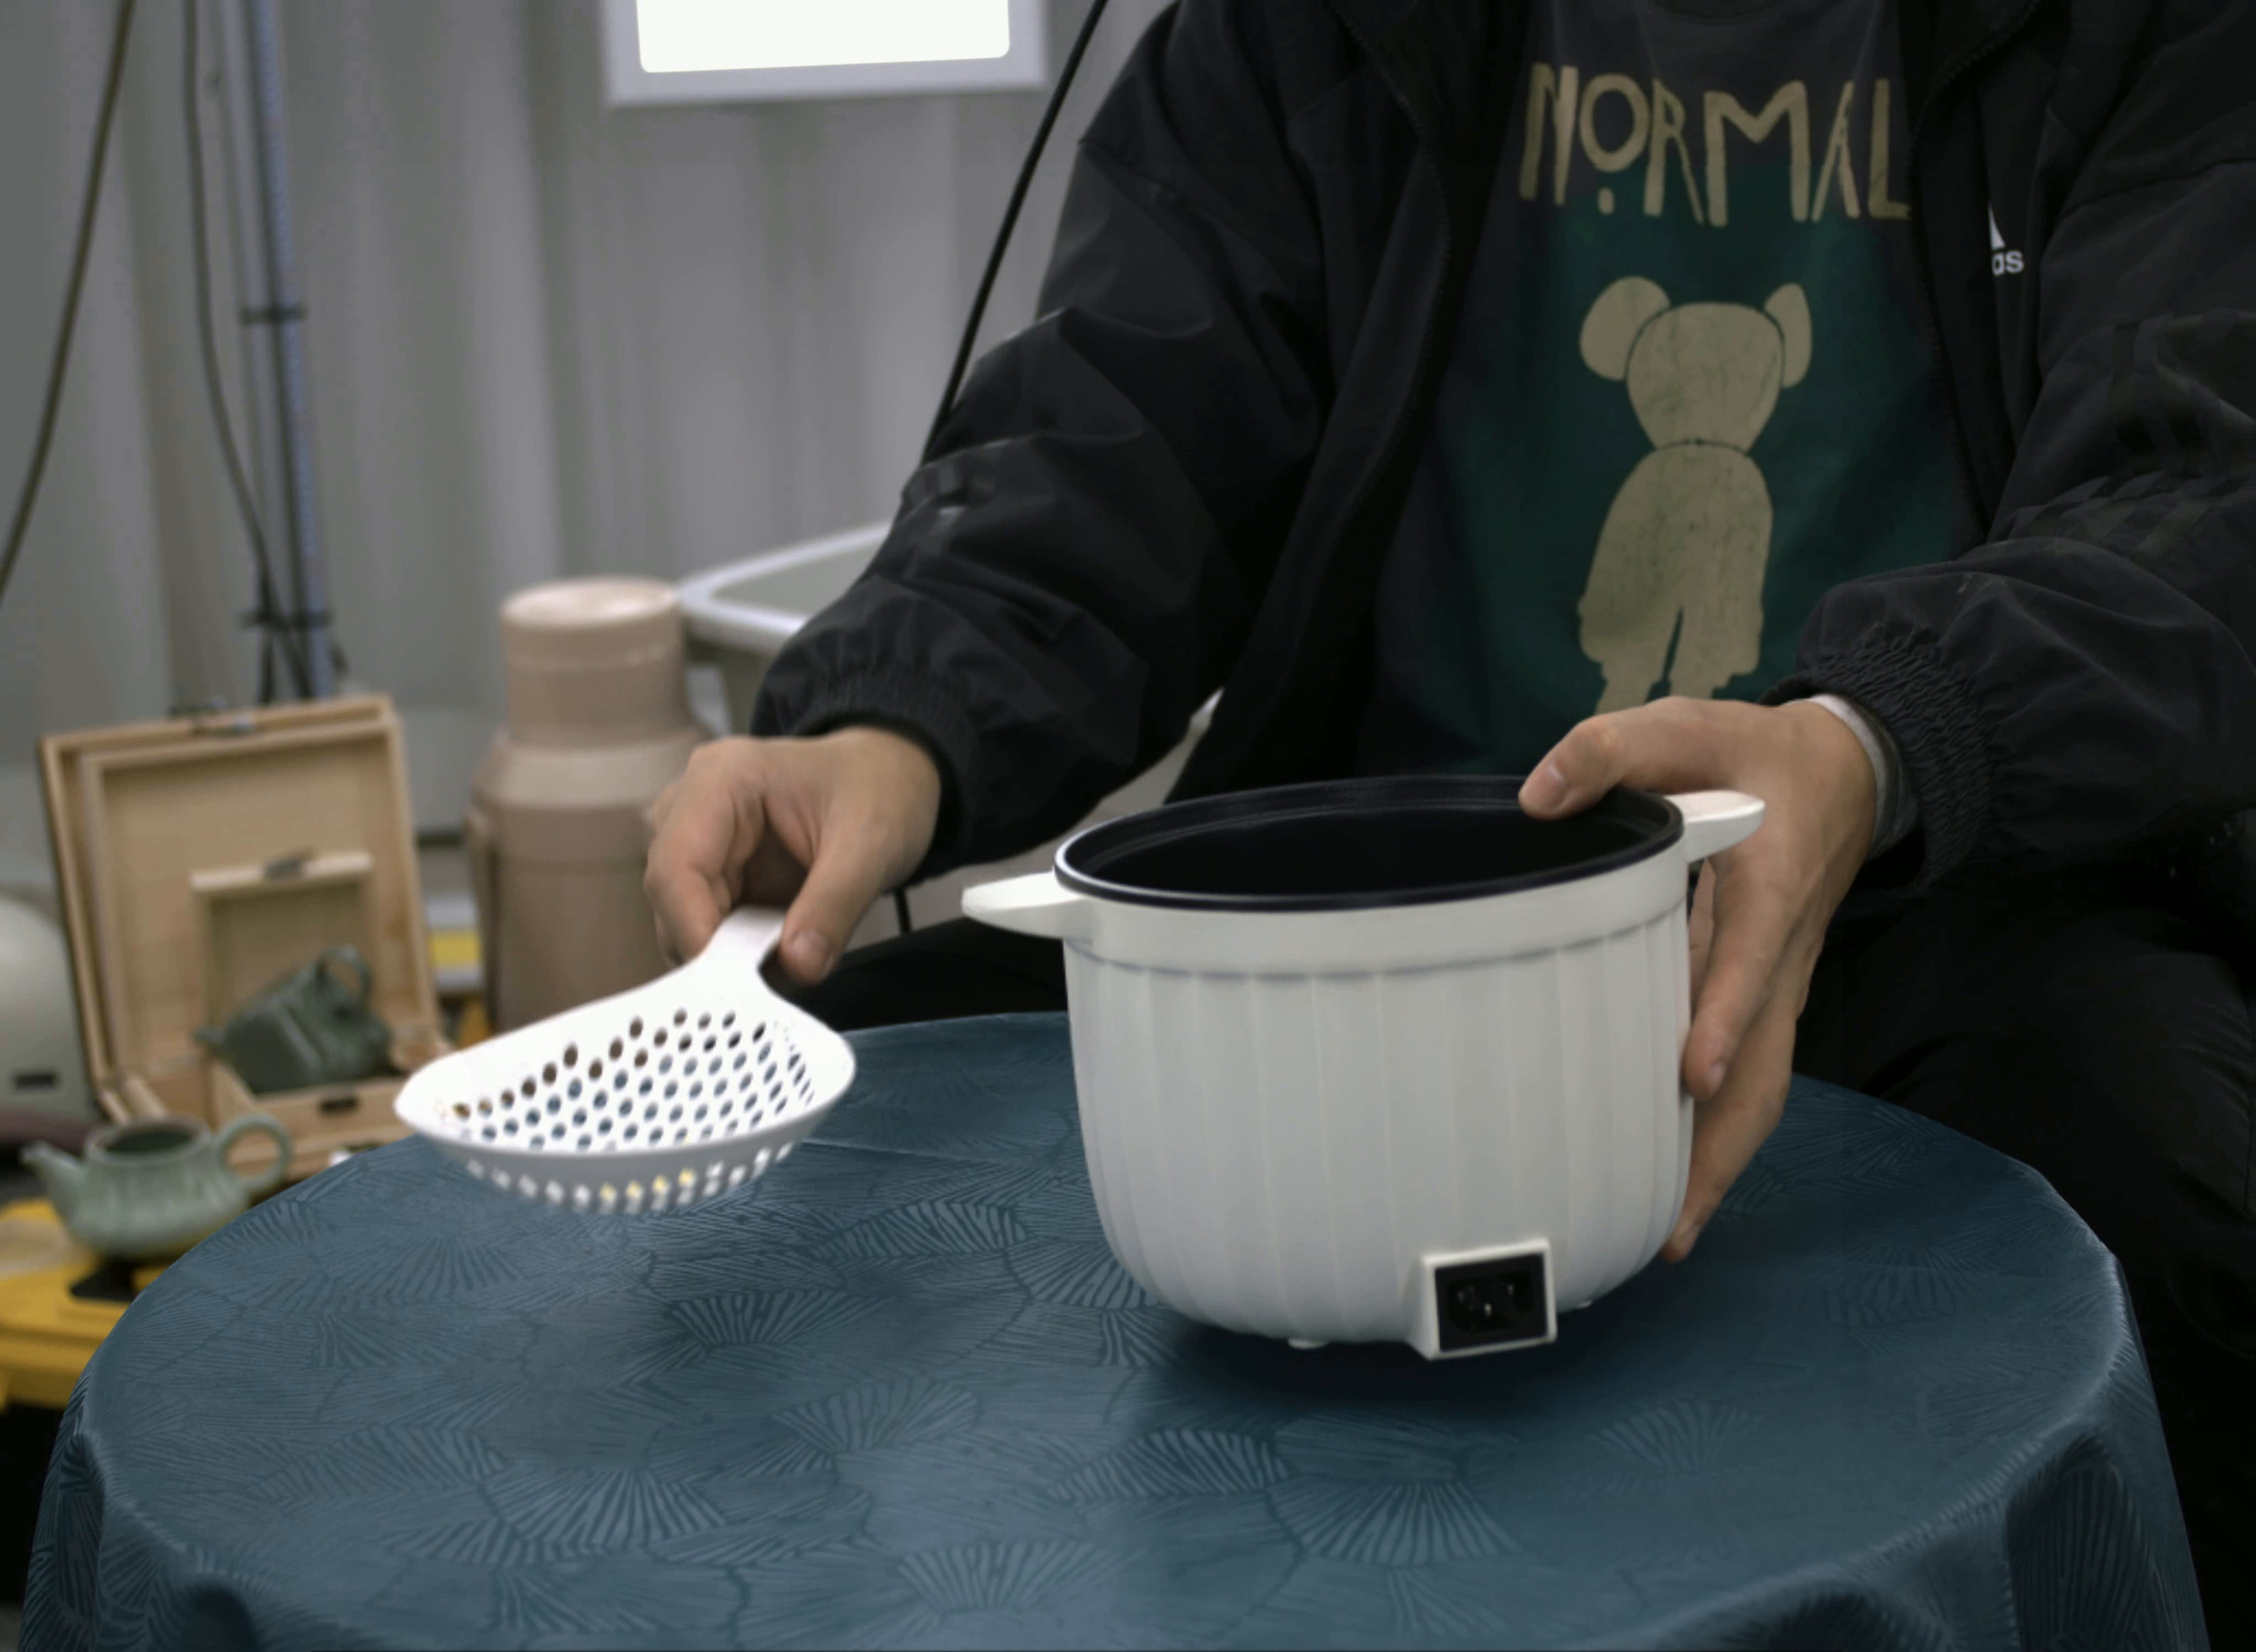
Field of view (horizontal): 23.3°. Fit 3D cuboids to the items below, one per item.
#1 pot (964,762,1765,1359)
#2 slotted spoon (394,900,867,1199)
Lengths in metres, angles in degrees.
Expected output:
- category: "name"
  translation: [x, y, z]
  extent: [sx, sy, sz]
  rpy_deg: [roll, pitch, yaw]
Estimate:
- category: "pot"
  translation: [0.071, 0.065, 1.577]
  extent: [0.239, 0.142, 0.192]
  rpy_deg: [-6, 13, -15]
- category: "slotted spoon"
  translation: [-0.131, 0.056, 1.703]
  extent: [0.136, 0.050, 0.350]
  rpy_deg: [-2, 16, 7]
